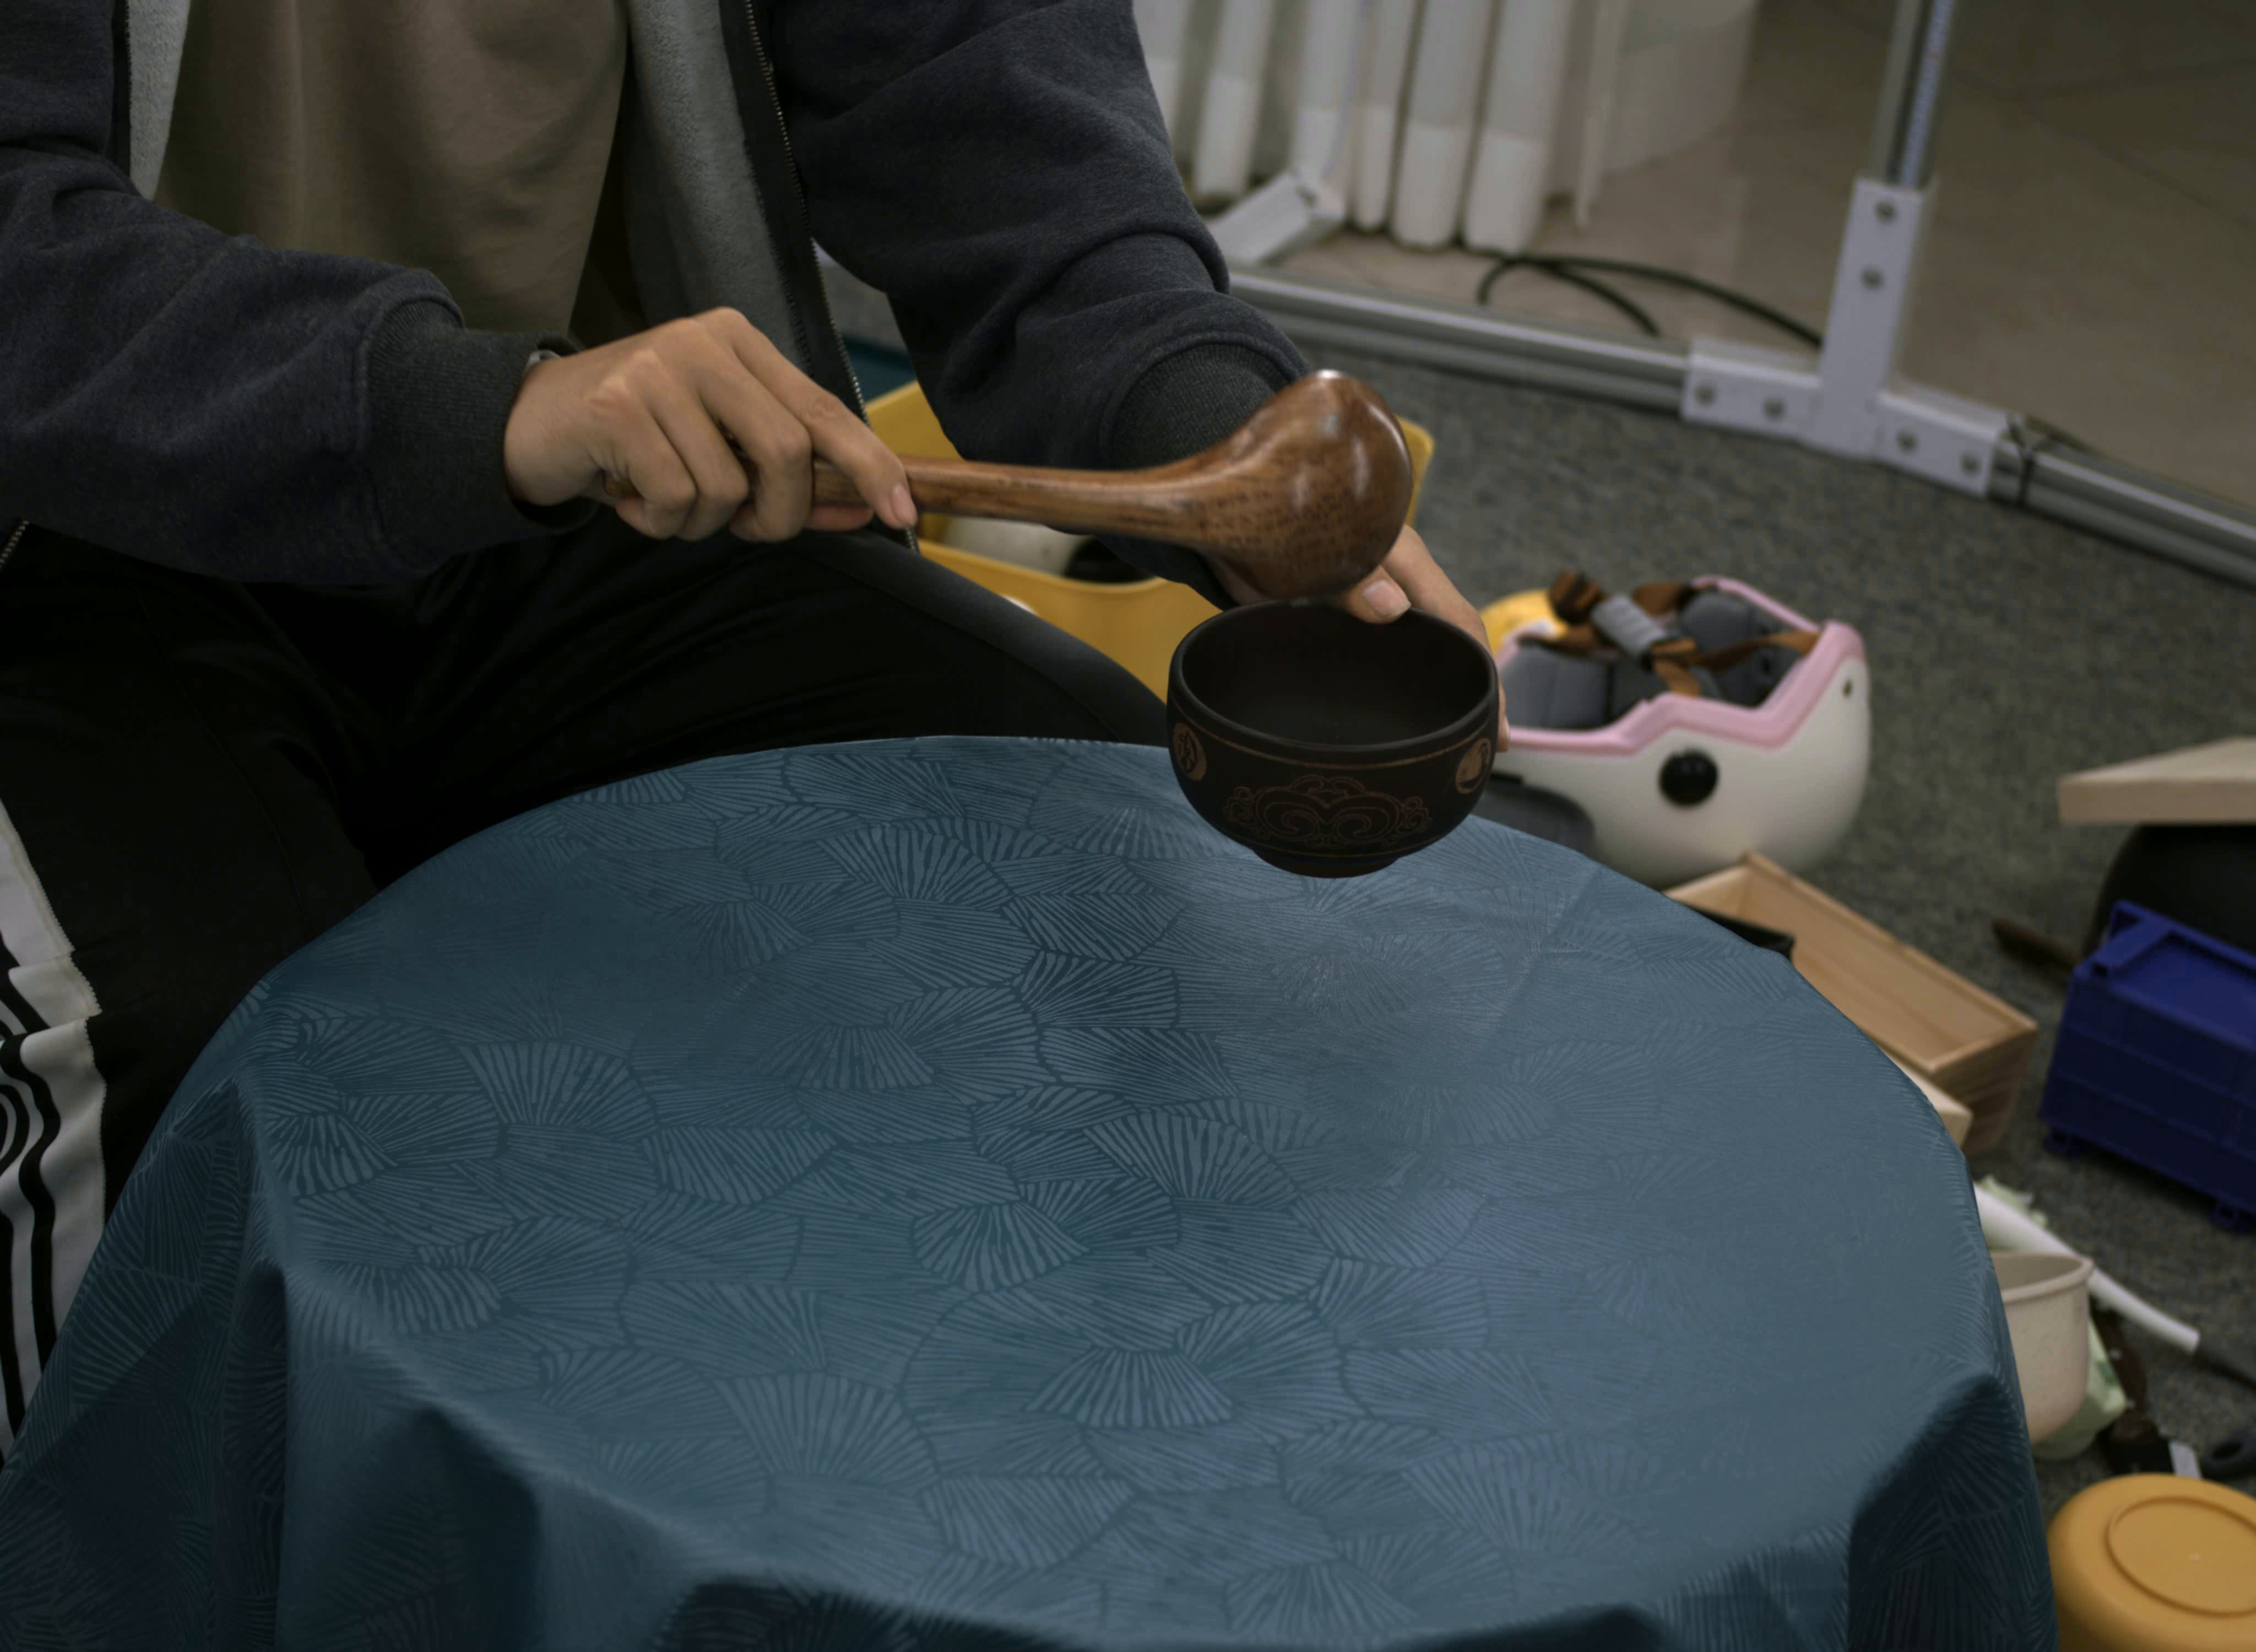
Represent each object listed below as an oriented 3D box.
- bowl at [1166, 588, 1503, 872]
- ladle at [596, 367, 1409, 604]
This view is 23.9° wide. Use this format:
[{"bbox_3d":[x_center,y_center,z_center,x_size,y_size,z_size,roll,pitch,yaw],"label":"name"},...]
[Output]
[{"bbox_3d":[0.072,-0.027,1.870,0.117,0.069,0.119,0,30,-1],"label":"bowl"},{"bbox_3d":[-0.041,-0.121,1.823,0.274,0.082,0.077,4,18,6],"label":"ladle"}]
